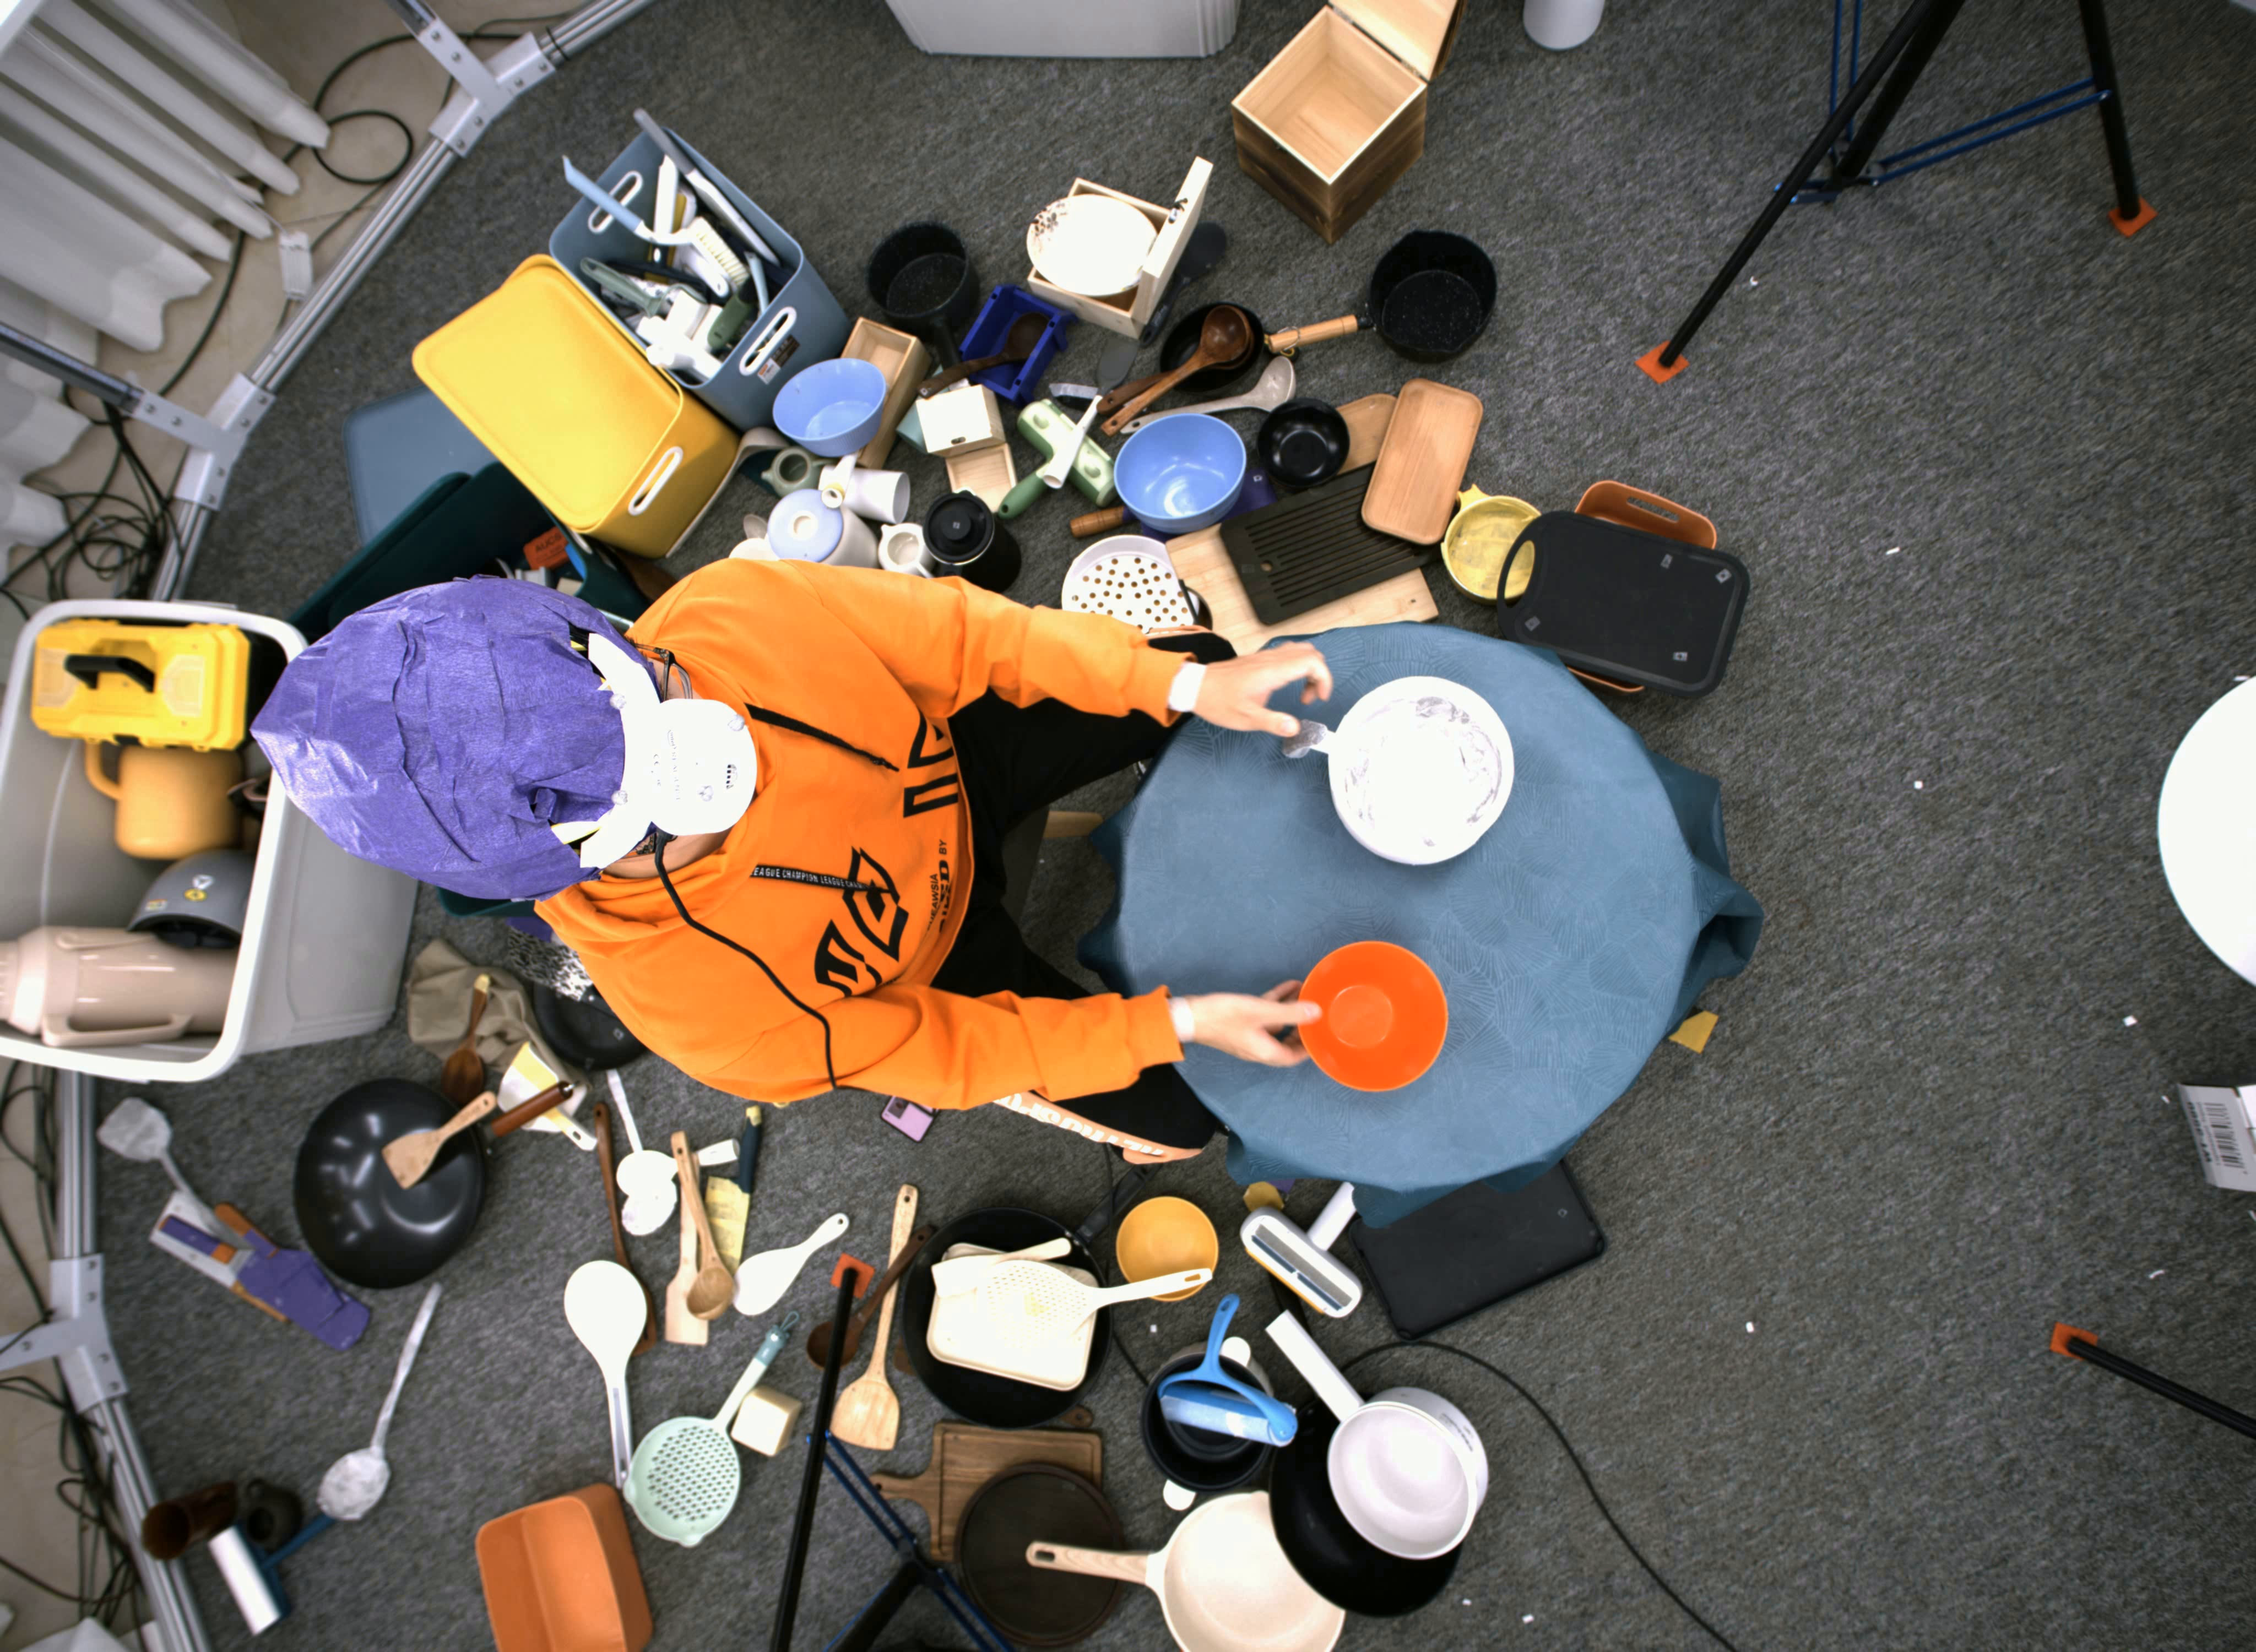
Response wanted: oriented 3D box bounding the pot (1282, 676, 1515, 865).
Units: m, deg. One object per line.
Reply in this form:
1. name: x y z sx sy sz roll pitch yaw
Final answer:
1. pot: 0.268 -0.061 1.398 0.234 0.137 0.178 17 88 11

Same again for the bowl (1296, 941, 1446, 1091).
1. bowl: 0.248 0.191 1.409 0.148 0.105 0.147 -1 86 12
